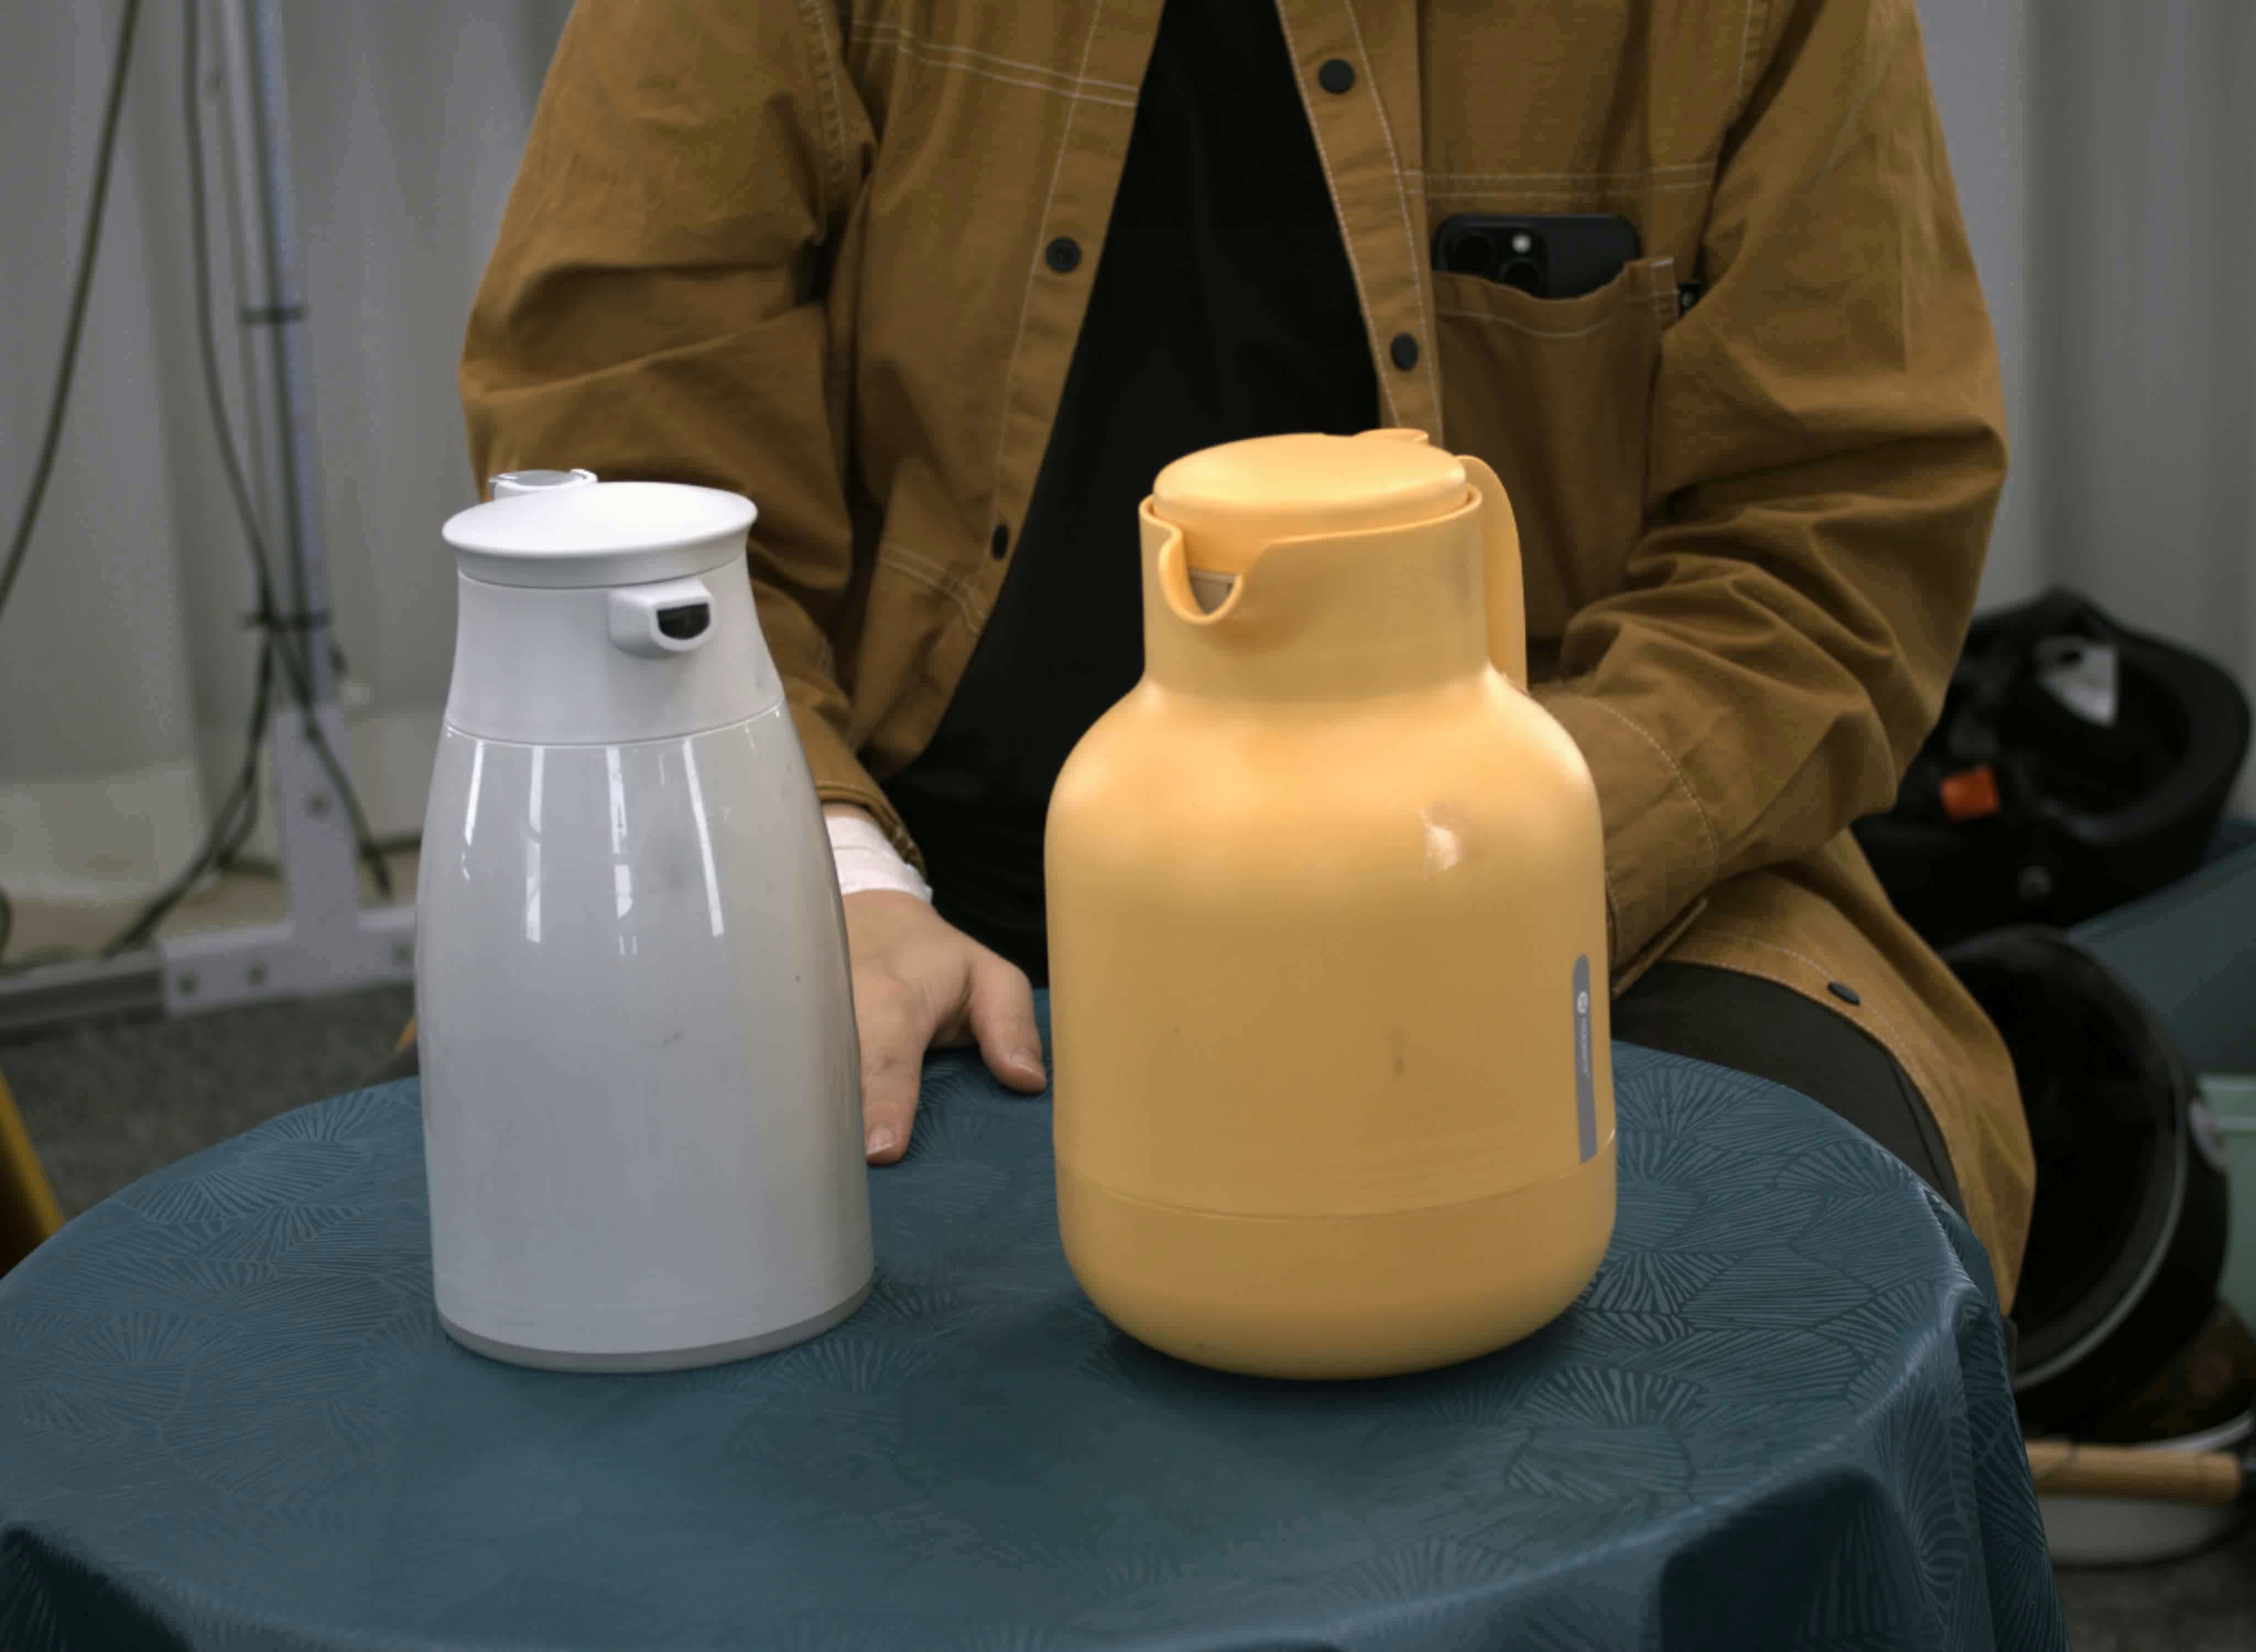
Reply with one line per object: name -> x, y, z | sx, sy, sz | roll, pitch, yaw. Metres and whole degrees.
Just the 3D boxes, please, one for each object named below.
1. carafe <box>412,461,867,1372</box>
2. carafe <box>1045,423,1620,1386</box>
carafe -> -0.157, 0.018, 1.627 | 0.132, 0.248, 0.169 | -9, 15, -26
carafe -> 0.067, 0.014, 1.579 | 0.164, 0.259, 0.203 | 7, 18, 29
